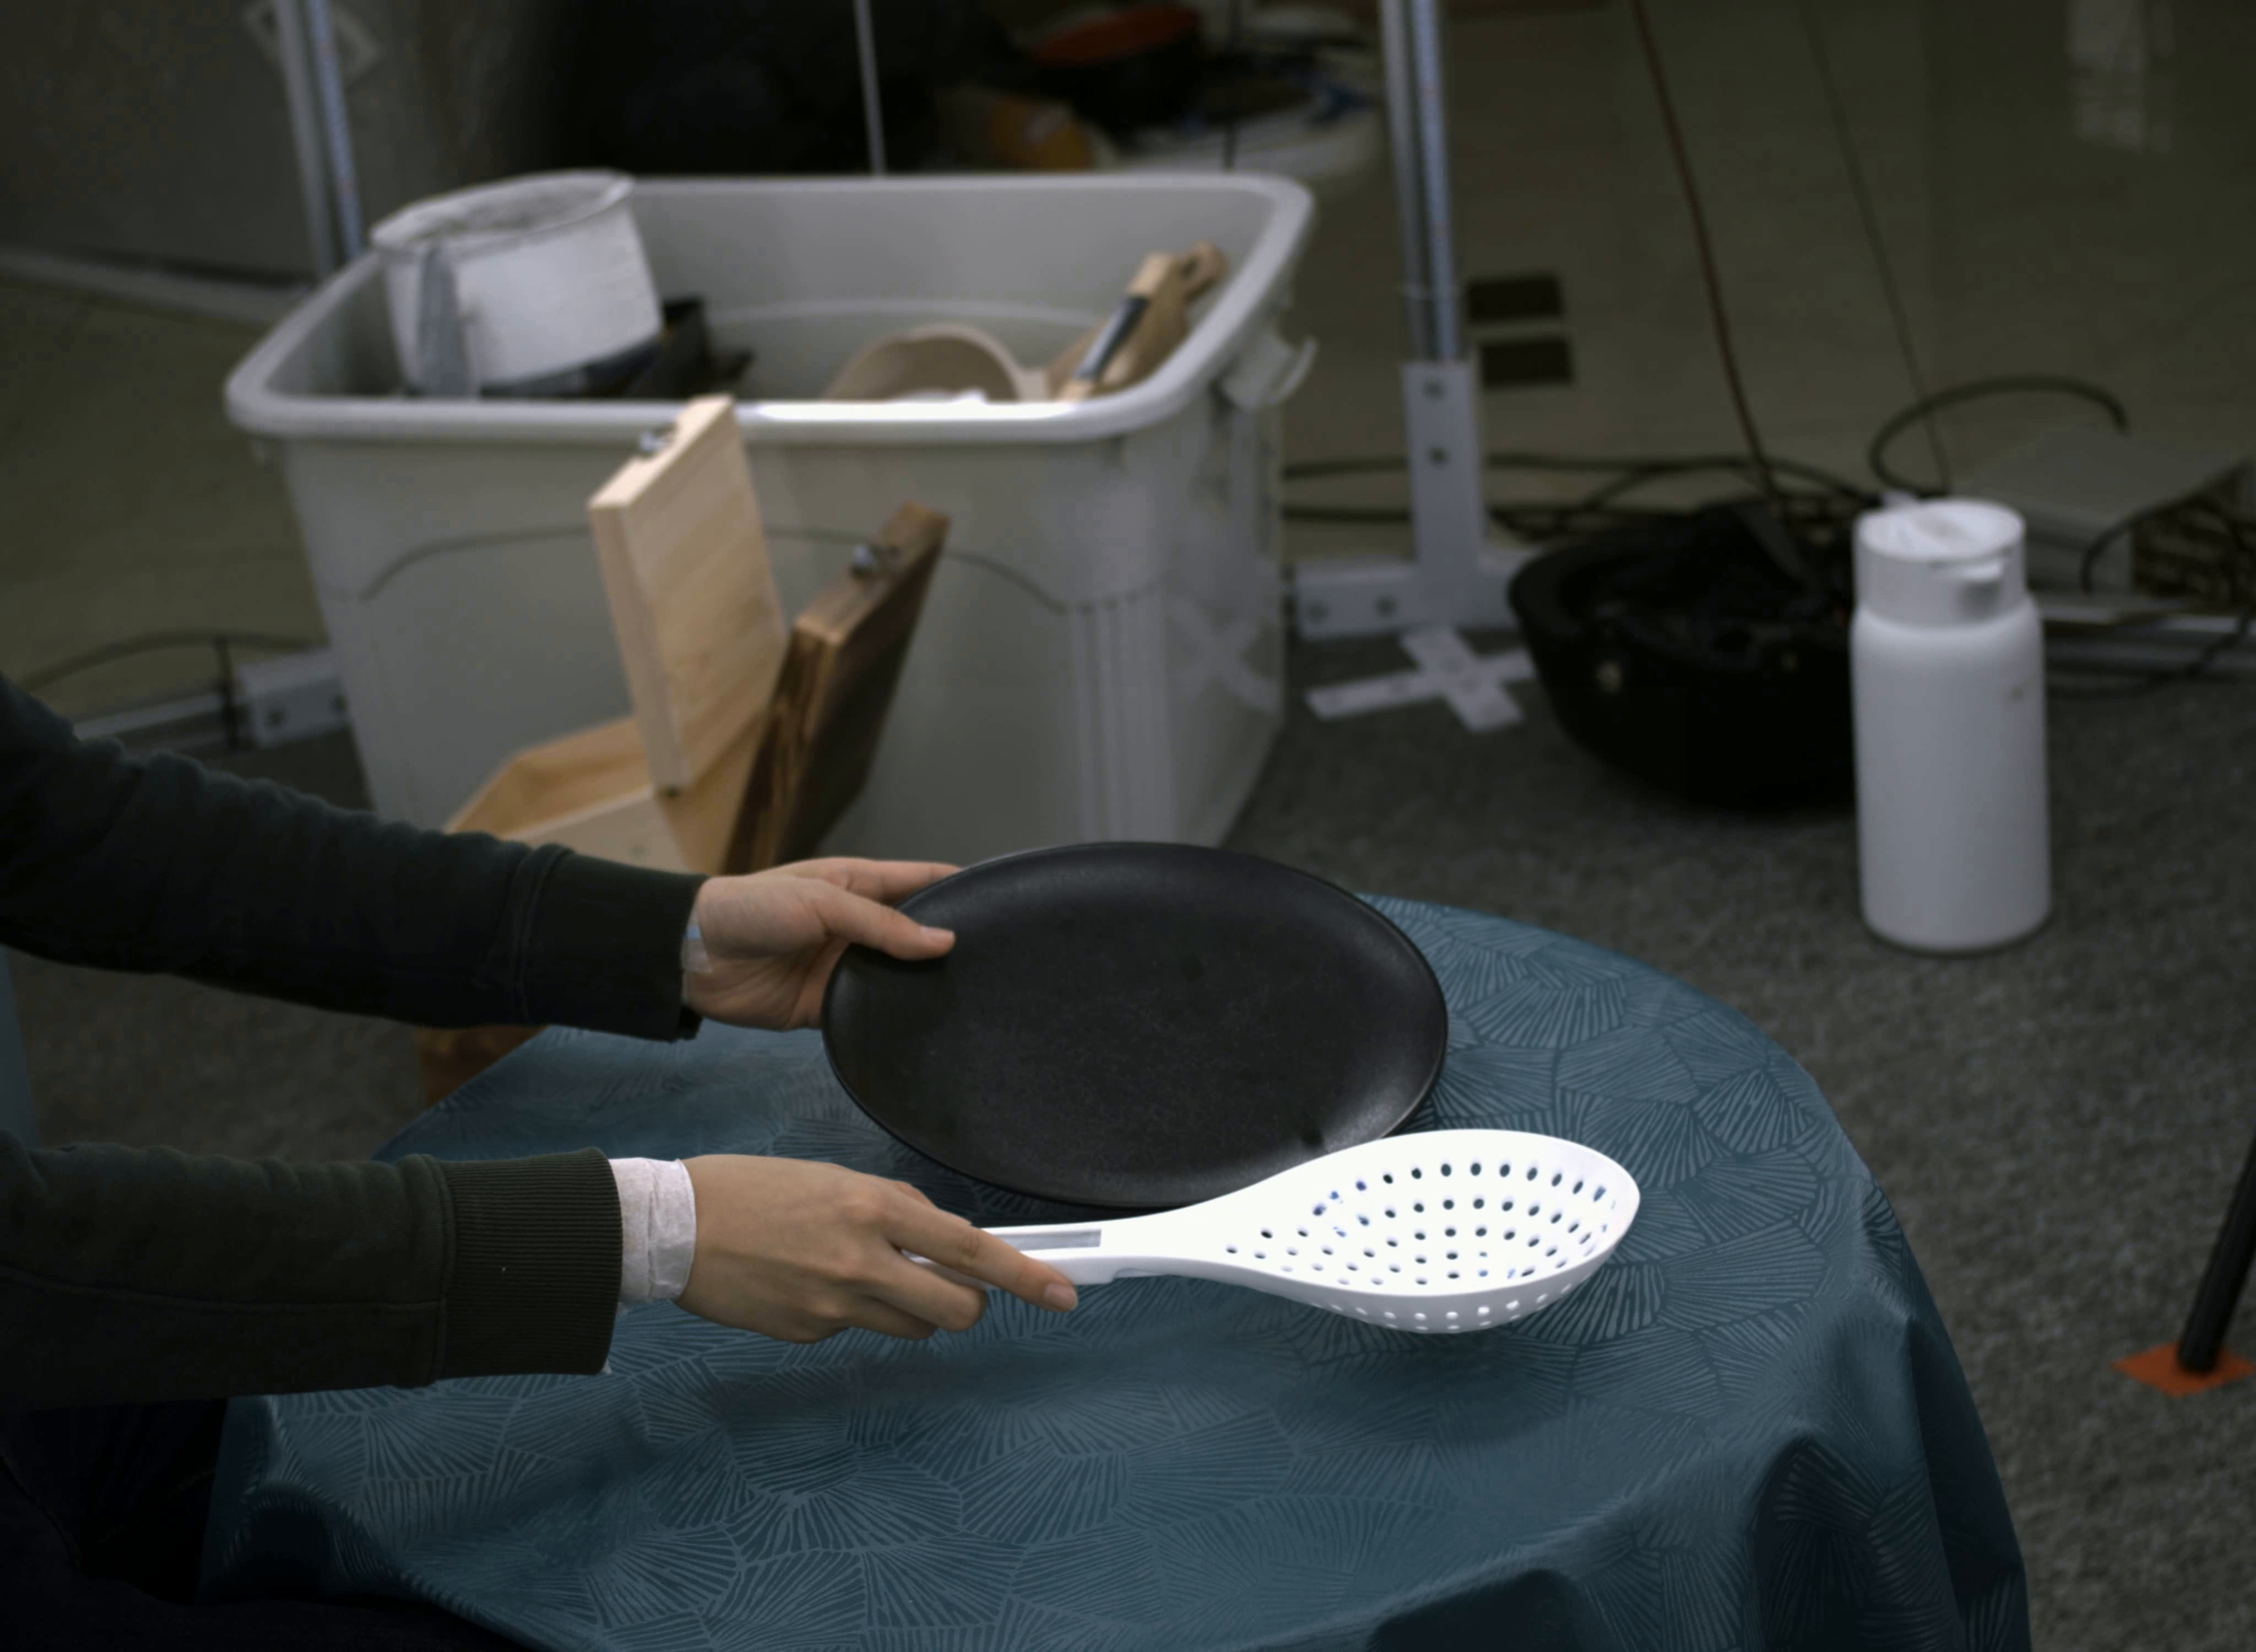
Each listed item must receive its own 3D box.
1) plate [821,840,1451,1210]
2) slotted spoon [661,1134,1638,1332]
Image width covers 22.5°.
[{"bbox_3d":[0.003,0.082,2.196,0.244,0.024,0.240,1,34,-1],"label":"plate"},{"bbox_3d":[0.006,0.151,2.029,0.349,0.046,0.134,1,20,3],"label":"slotted spoon"}]
